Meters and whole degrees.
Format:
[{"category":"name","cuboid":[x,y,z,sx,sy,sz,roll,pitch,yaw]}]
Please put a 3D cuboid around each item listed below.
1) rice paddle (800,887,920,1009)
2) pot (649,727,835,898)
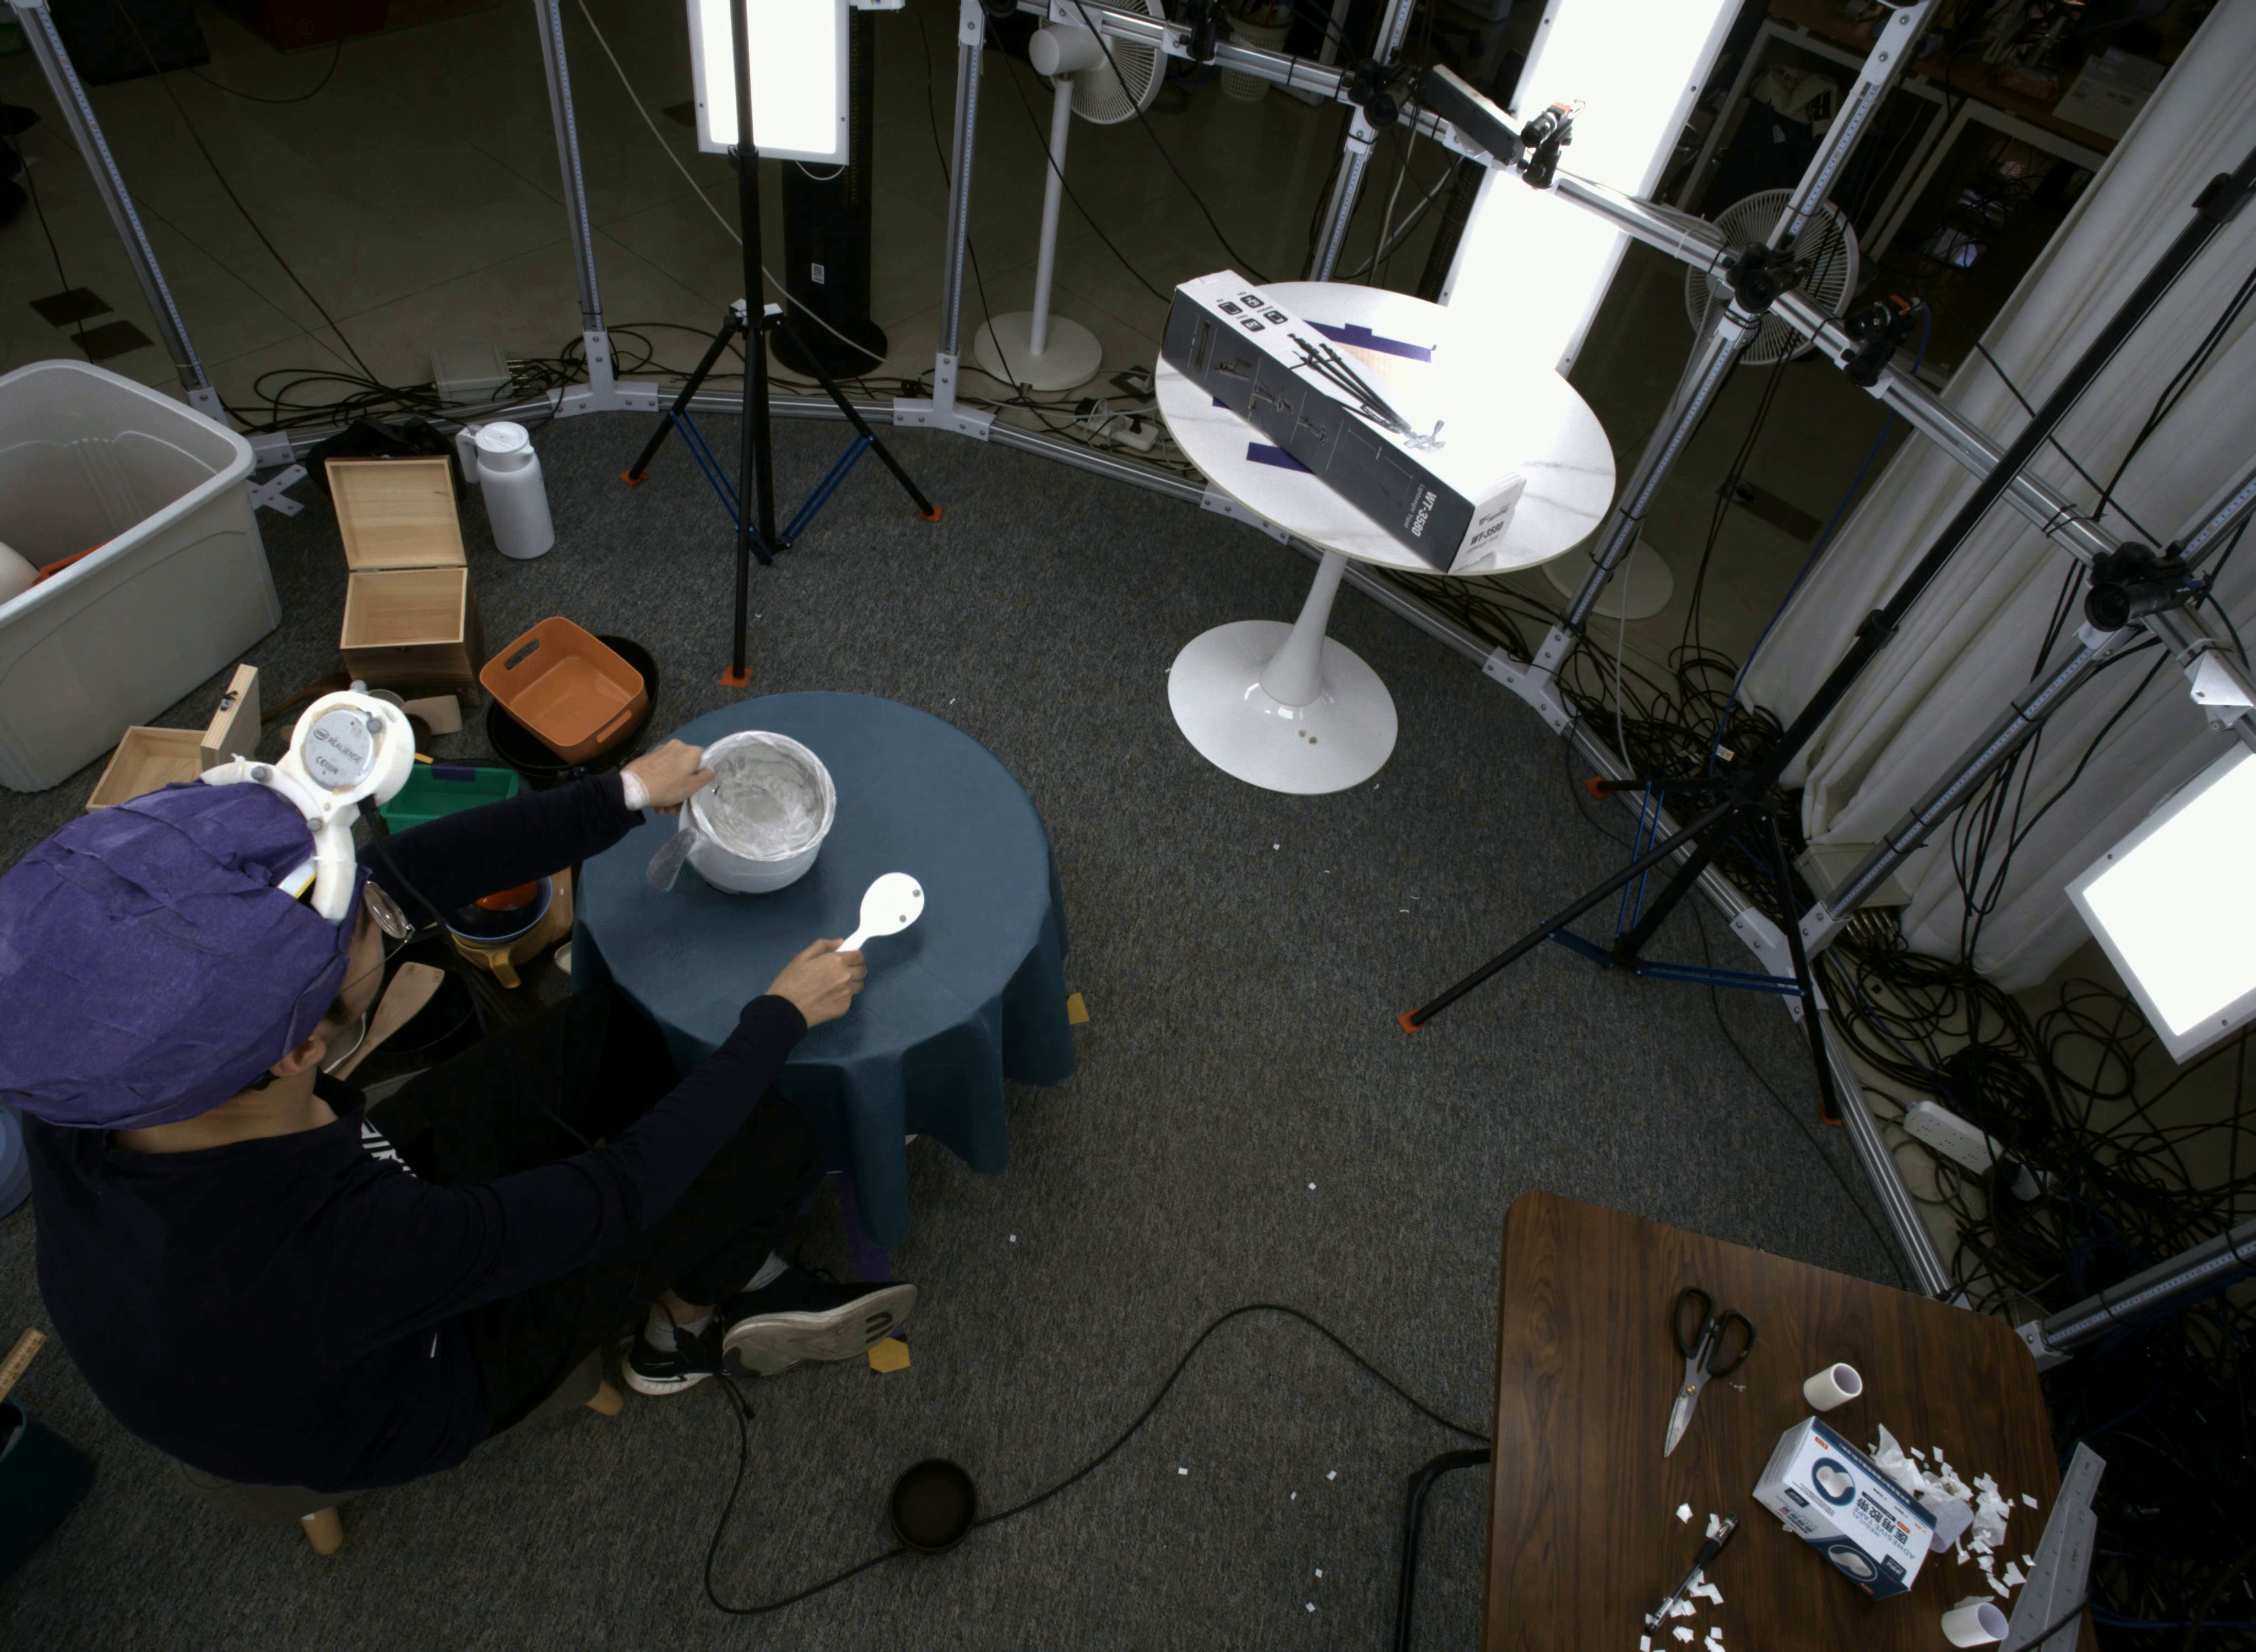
[{"category":"rice paddle","cuboid":[-0.324,0.141,1.584,0.068,0.029,0.204,39,48,0]},{"category":"pot","cuboid":[-0.485,-0.001,1.604,0.234,0.137,0.178,-36,83,-35]}]
